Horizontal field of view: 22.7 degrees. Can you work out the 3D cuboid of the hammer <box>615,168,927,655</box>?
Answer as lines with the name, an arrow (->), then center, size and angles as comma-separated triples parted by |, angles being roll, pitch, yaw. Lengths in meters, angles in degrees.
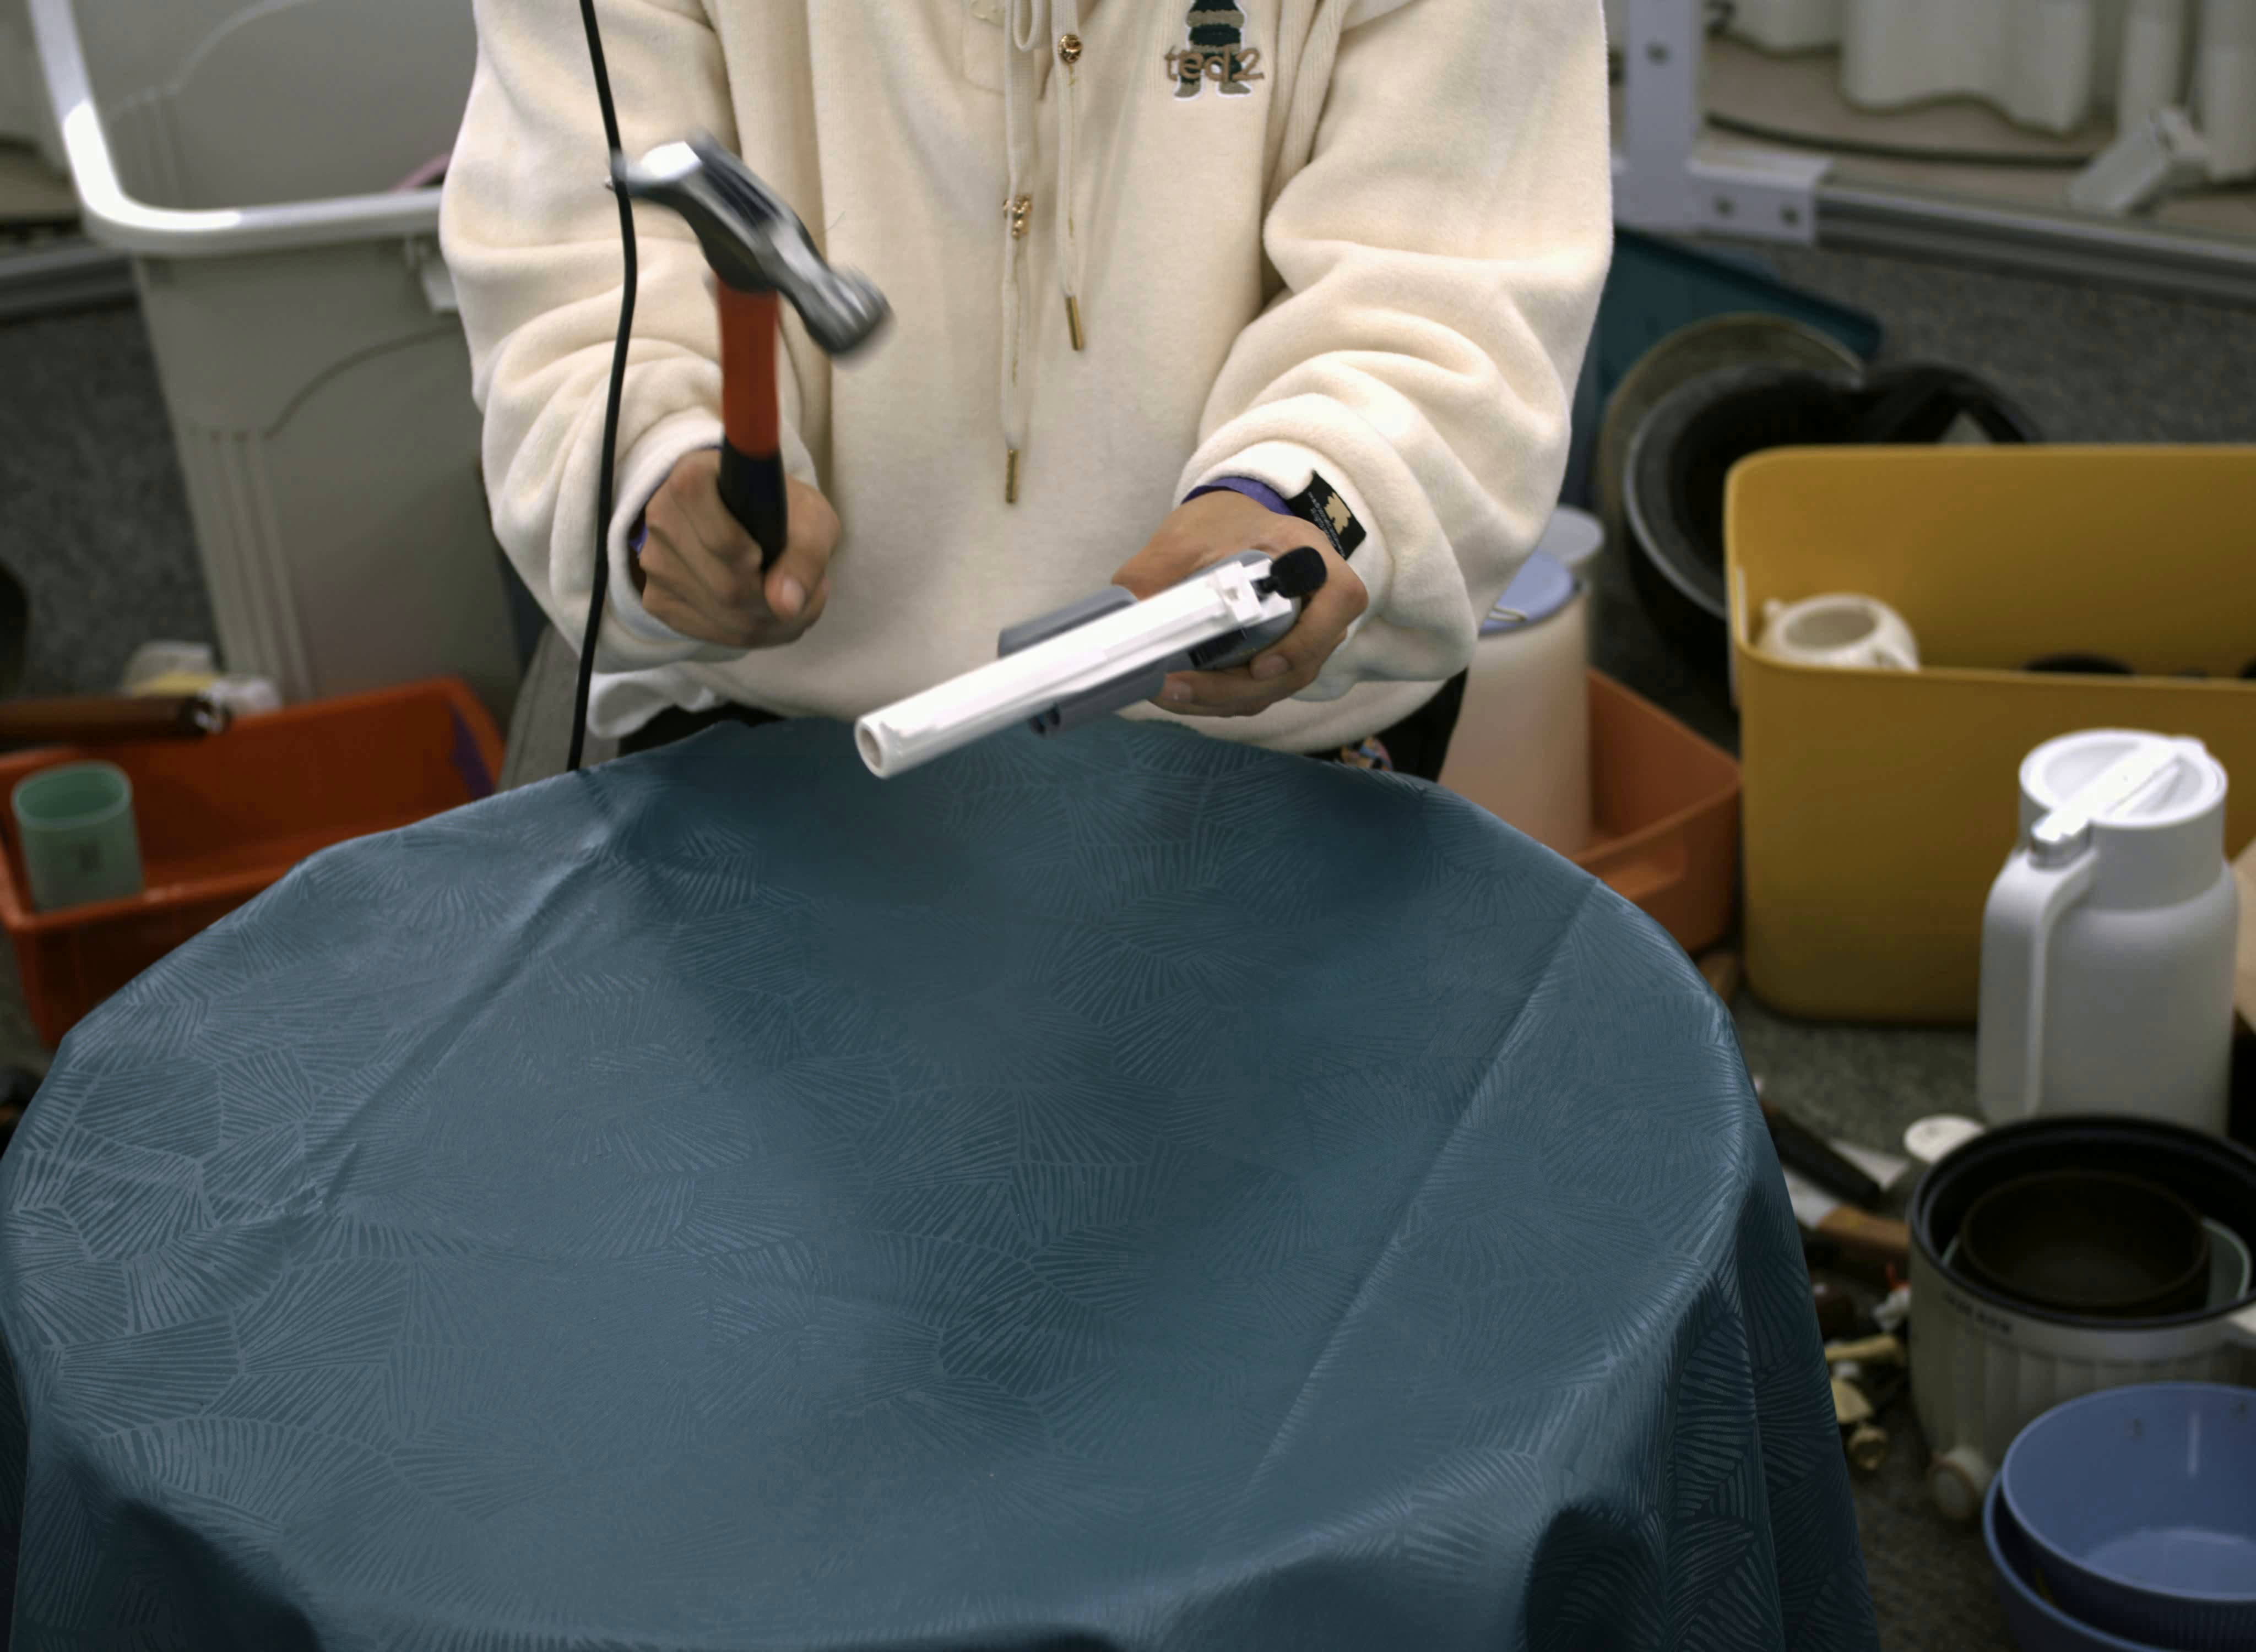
hammer -> -0.123, -0.132, 1.899 | 0.111, 0.273, 0.027 | 36, 67, 12

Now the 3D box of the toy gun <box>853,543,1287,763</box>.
toy gun -> -0.016, -0.056, 1.830 | 0.211, 0.039, 0.140 | -22, 0, -28
